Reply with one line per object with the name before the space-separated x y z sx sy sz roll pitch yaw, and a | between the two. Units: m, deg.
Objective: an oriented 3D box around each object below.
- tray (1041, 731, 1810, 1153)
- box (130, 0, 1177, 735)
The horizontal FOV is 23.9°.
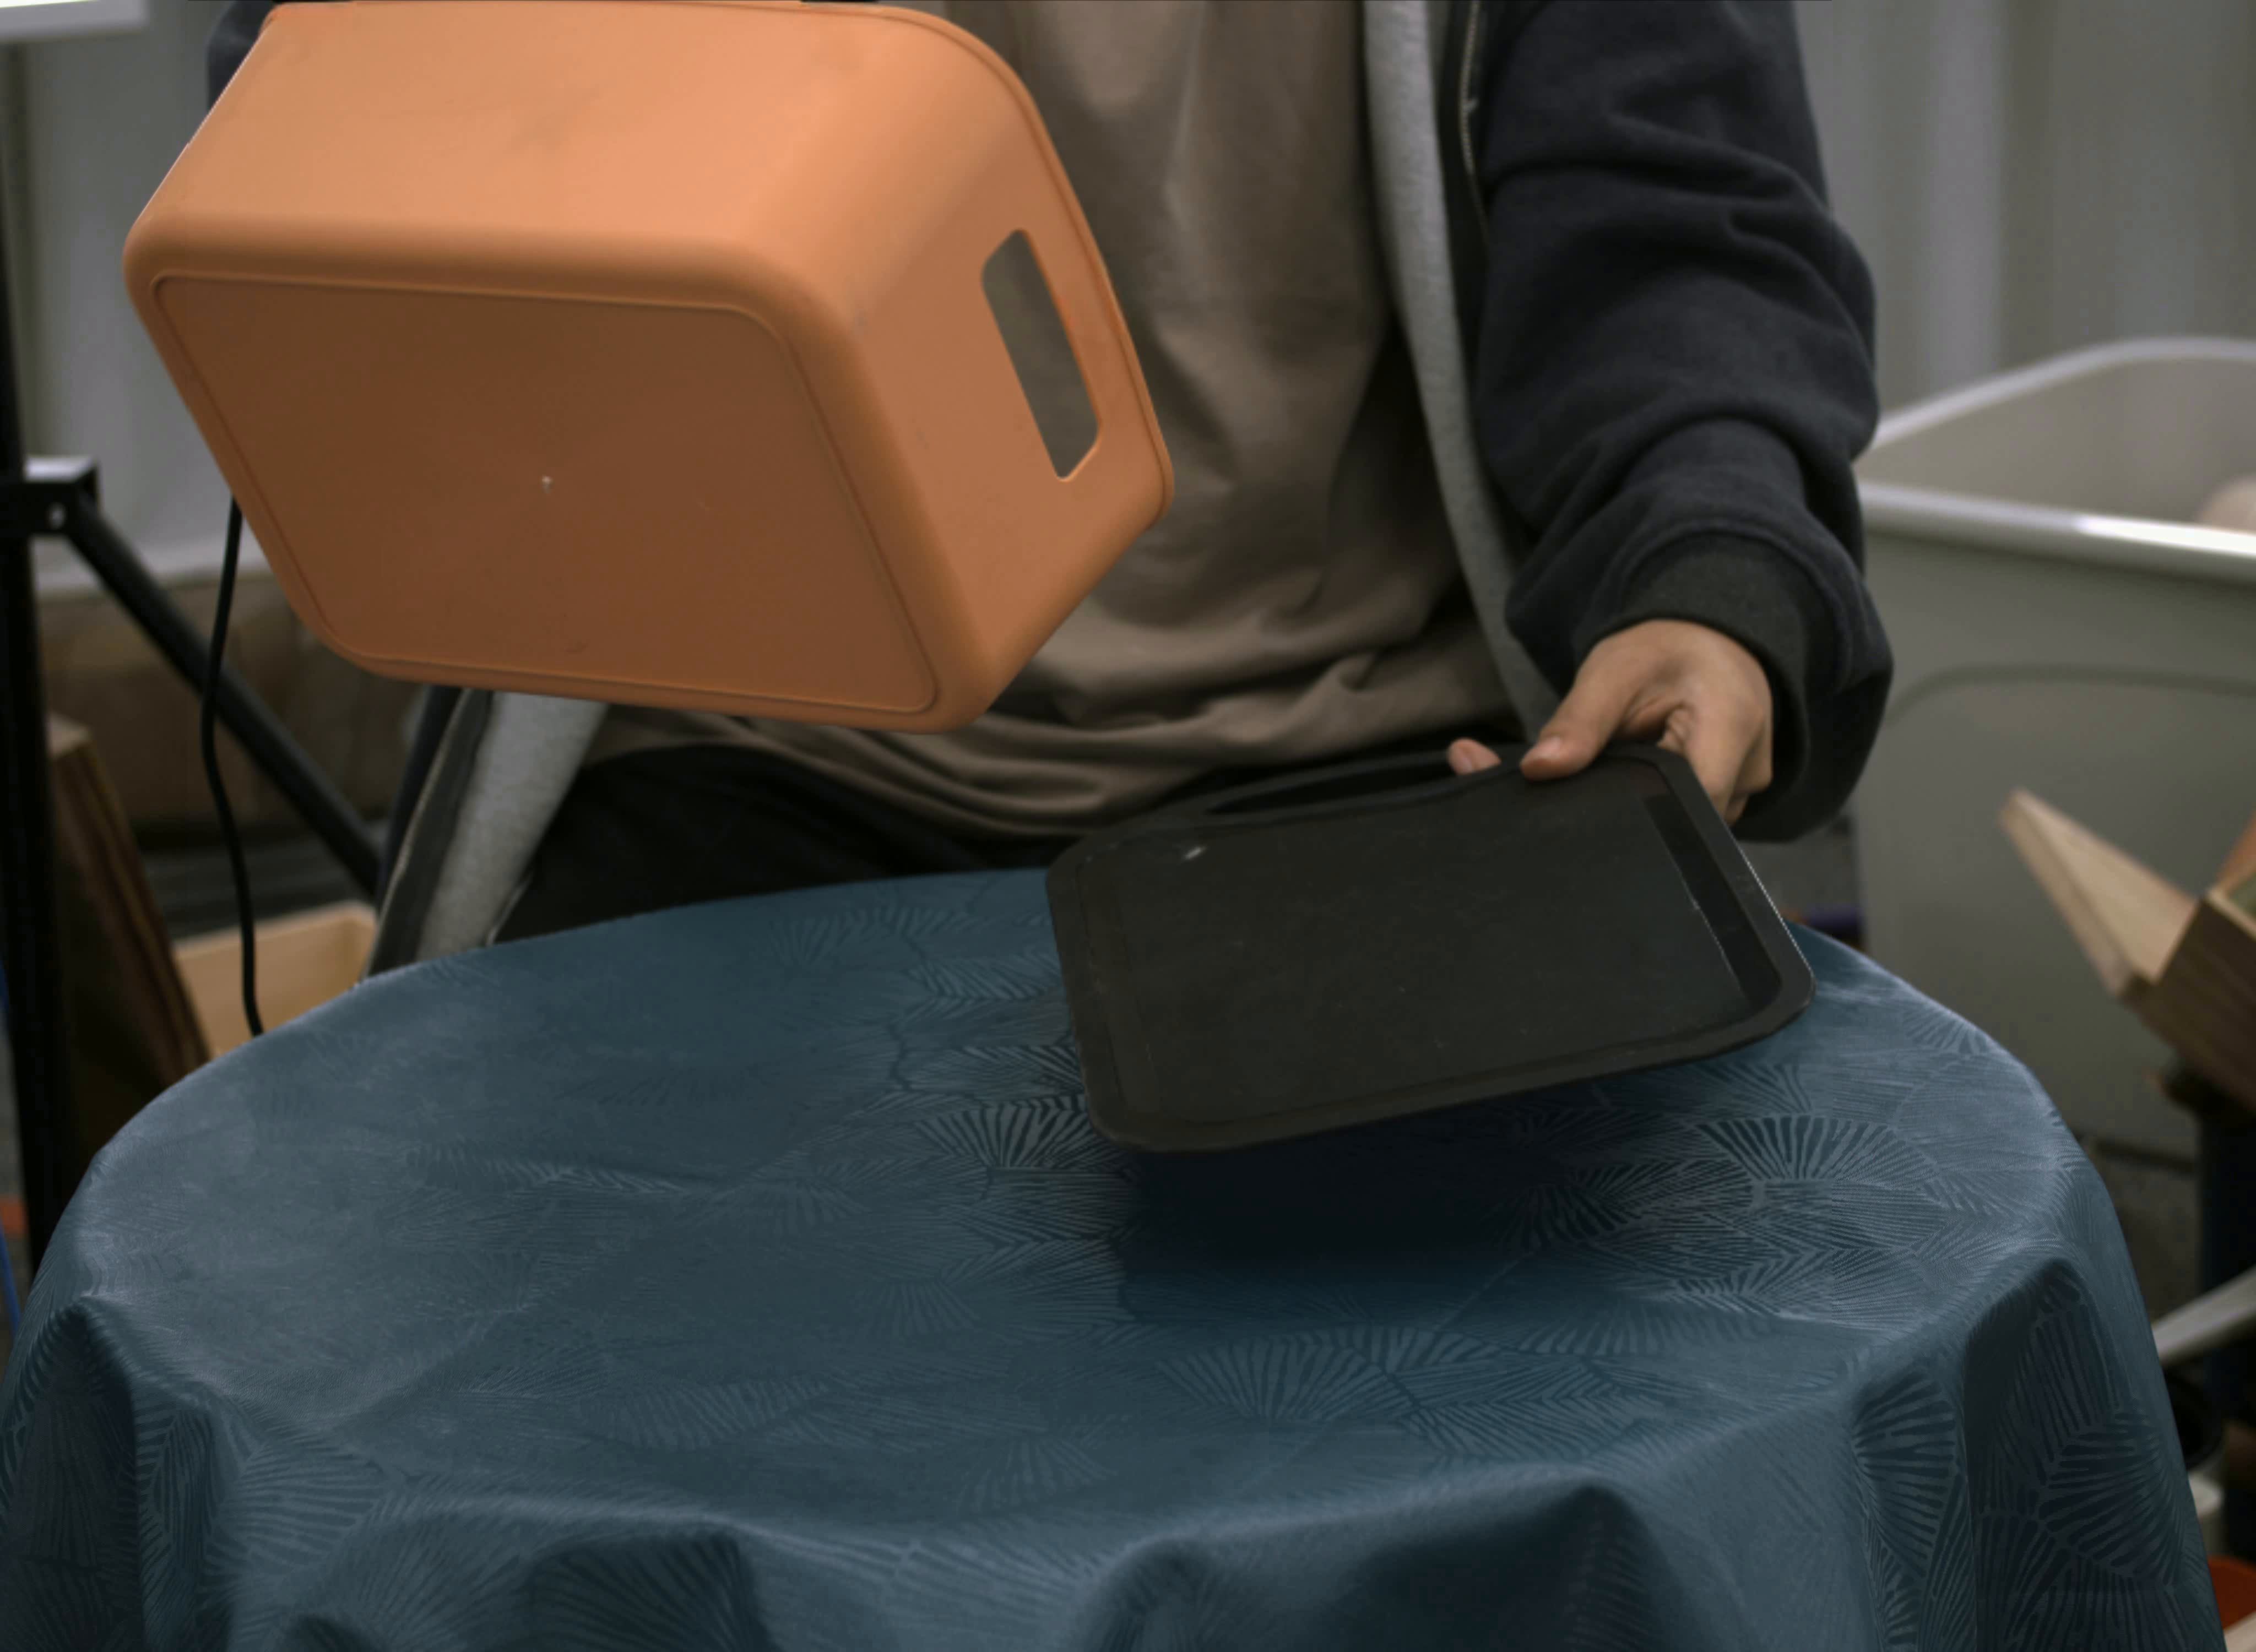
tray | 0.081 0.028 1.610 0.210 0.010 0.328 -12 18 0
box | -0.139 -0.126 1.502 0.278 0.196 0.102 7 47 33
